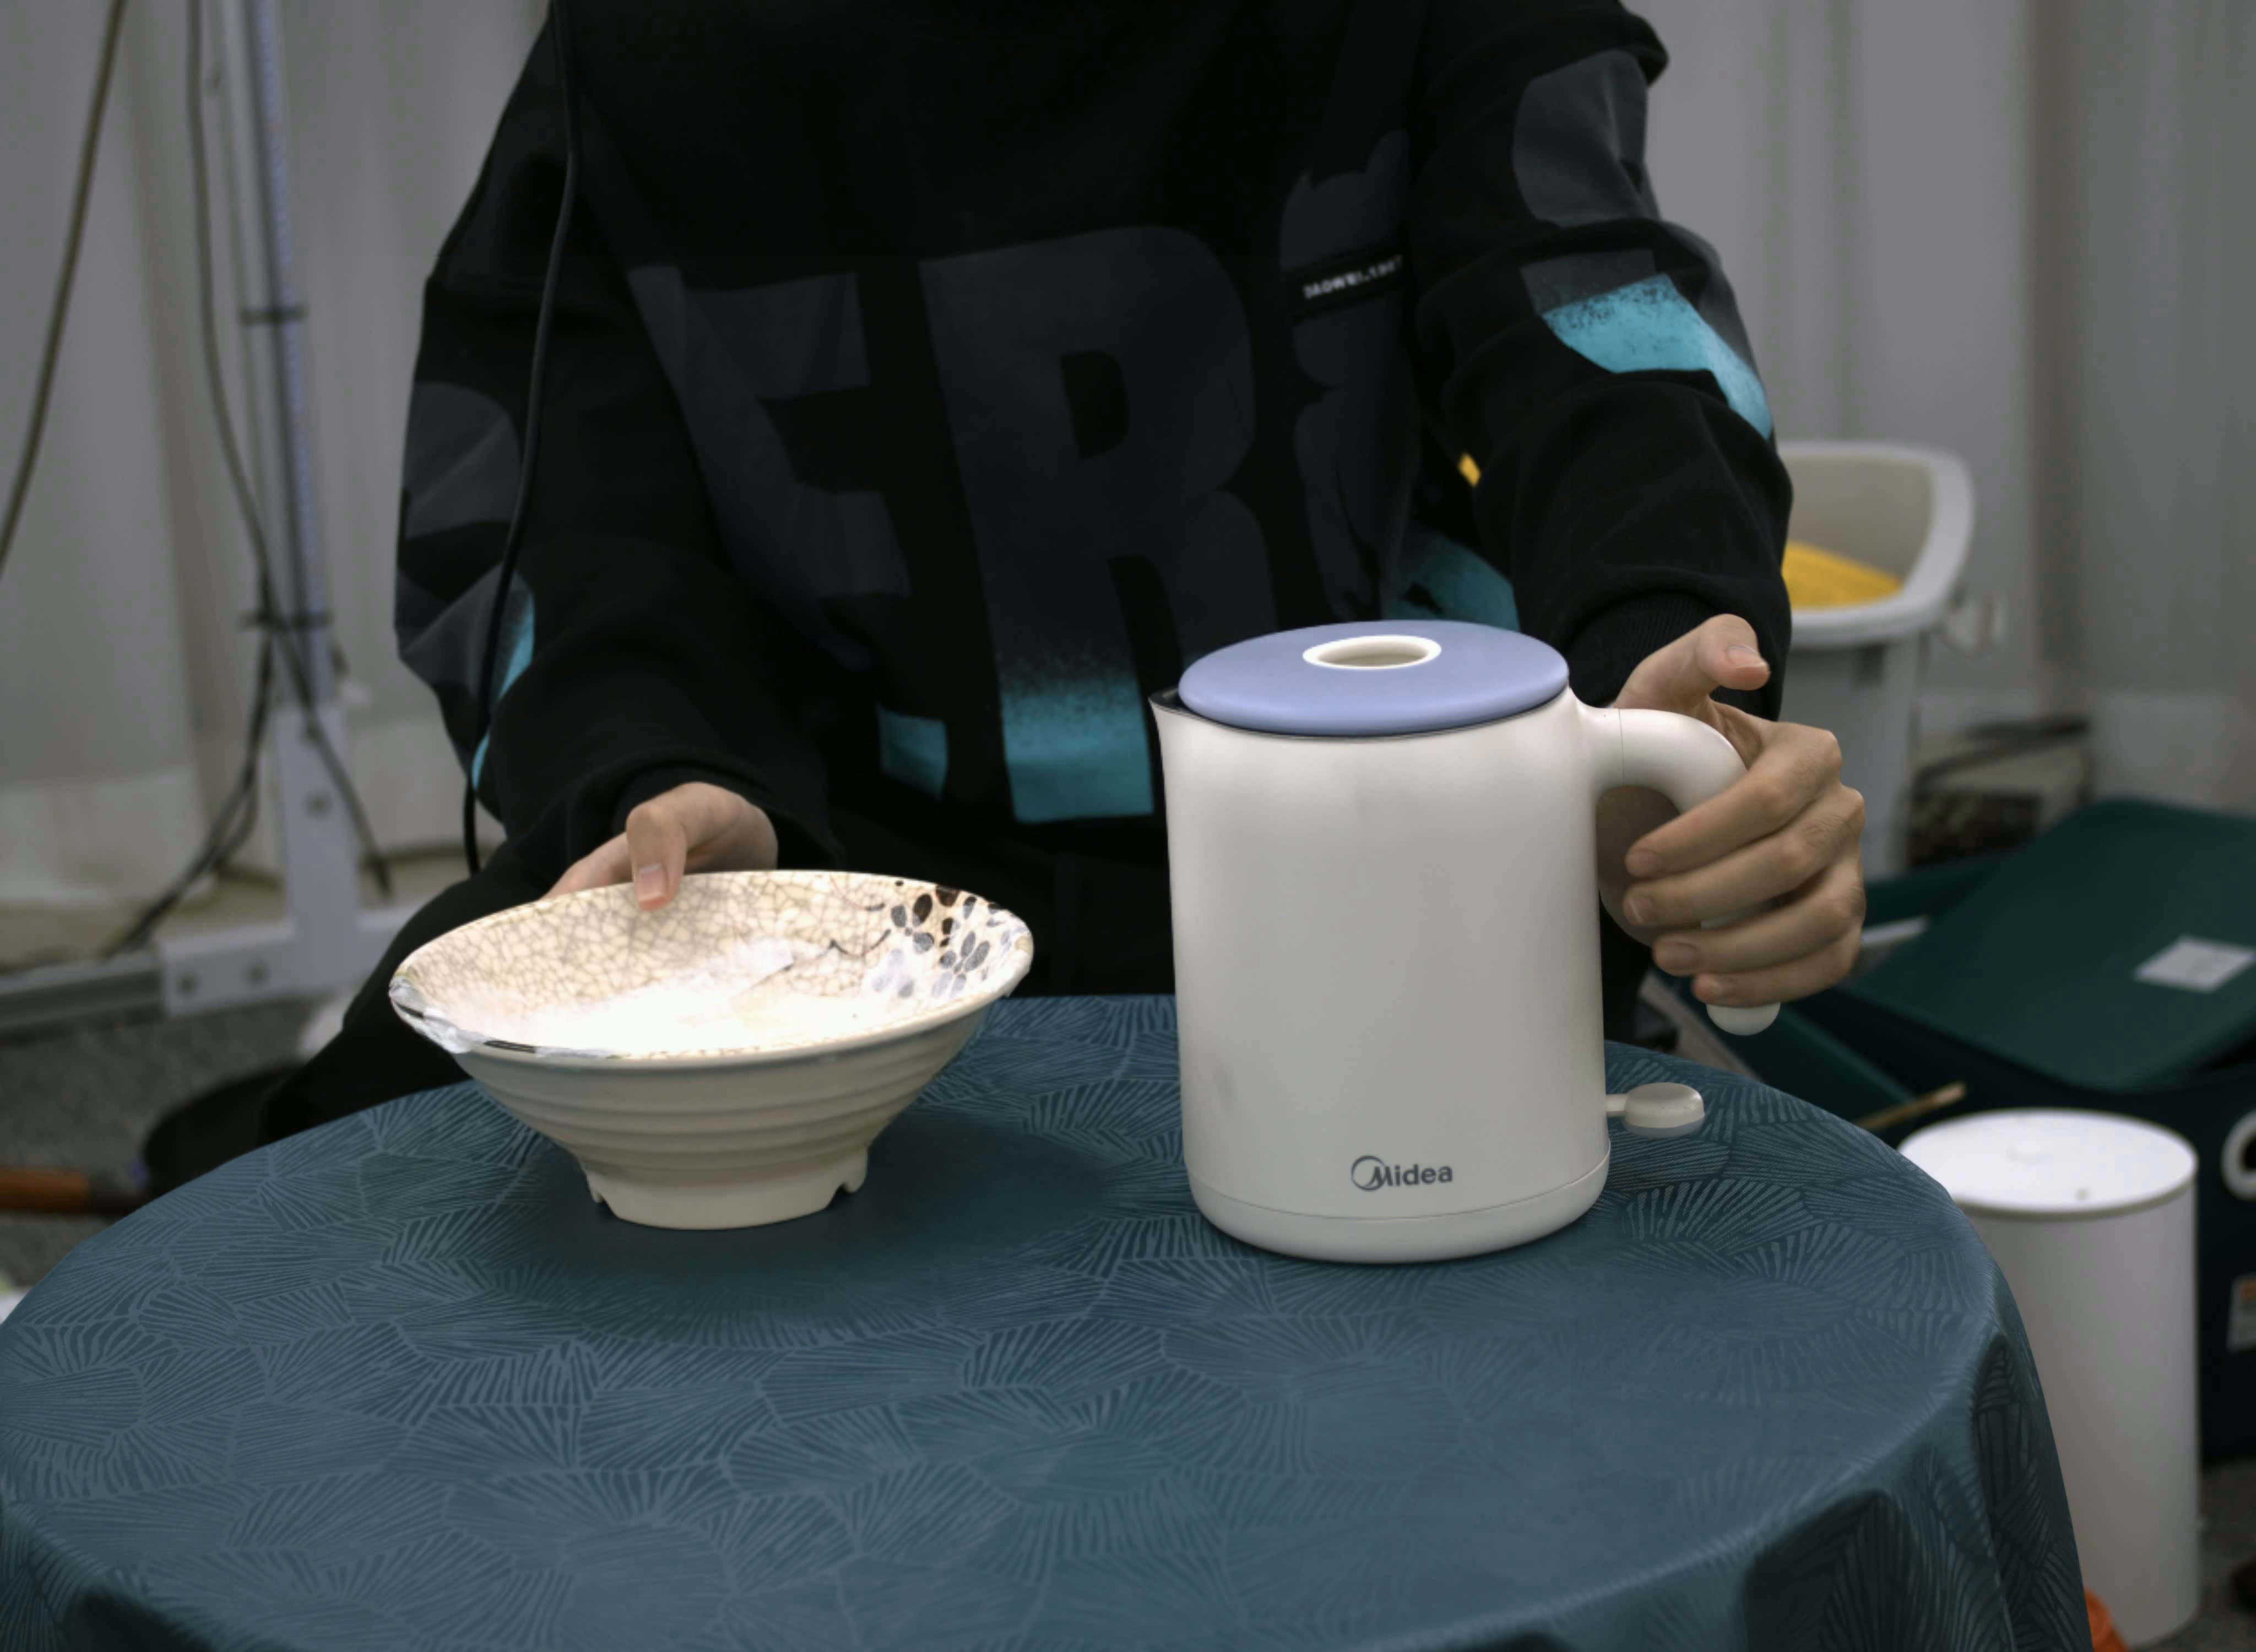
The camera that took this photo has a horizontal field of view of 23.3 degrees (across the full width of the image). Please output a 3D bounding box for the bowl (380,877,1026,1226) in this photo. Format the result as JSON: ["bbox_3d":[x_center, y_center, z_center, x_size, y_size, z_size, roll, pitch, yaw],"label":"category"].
[{"bbox_3d":[-0.132,0.077,1.728,0.203,0.078,0.205,-2,13,0],"label":"bowl"}]

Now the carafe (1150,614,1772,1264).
[{"bbox_3d":[0.102,0.033,1.672,0.190,0.182,0.133,-1,15,-1],"label":"carafe"}]
